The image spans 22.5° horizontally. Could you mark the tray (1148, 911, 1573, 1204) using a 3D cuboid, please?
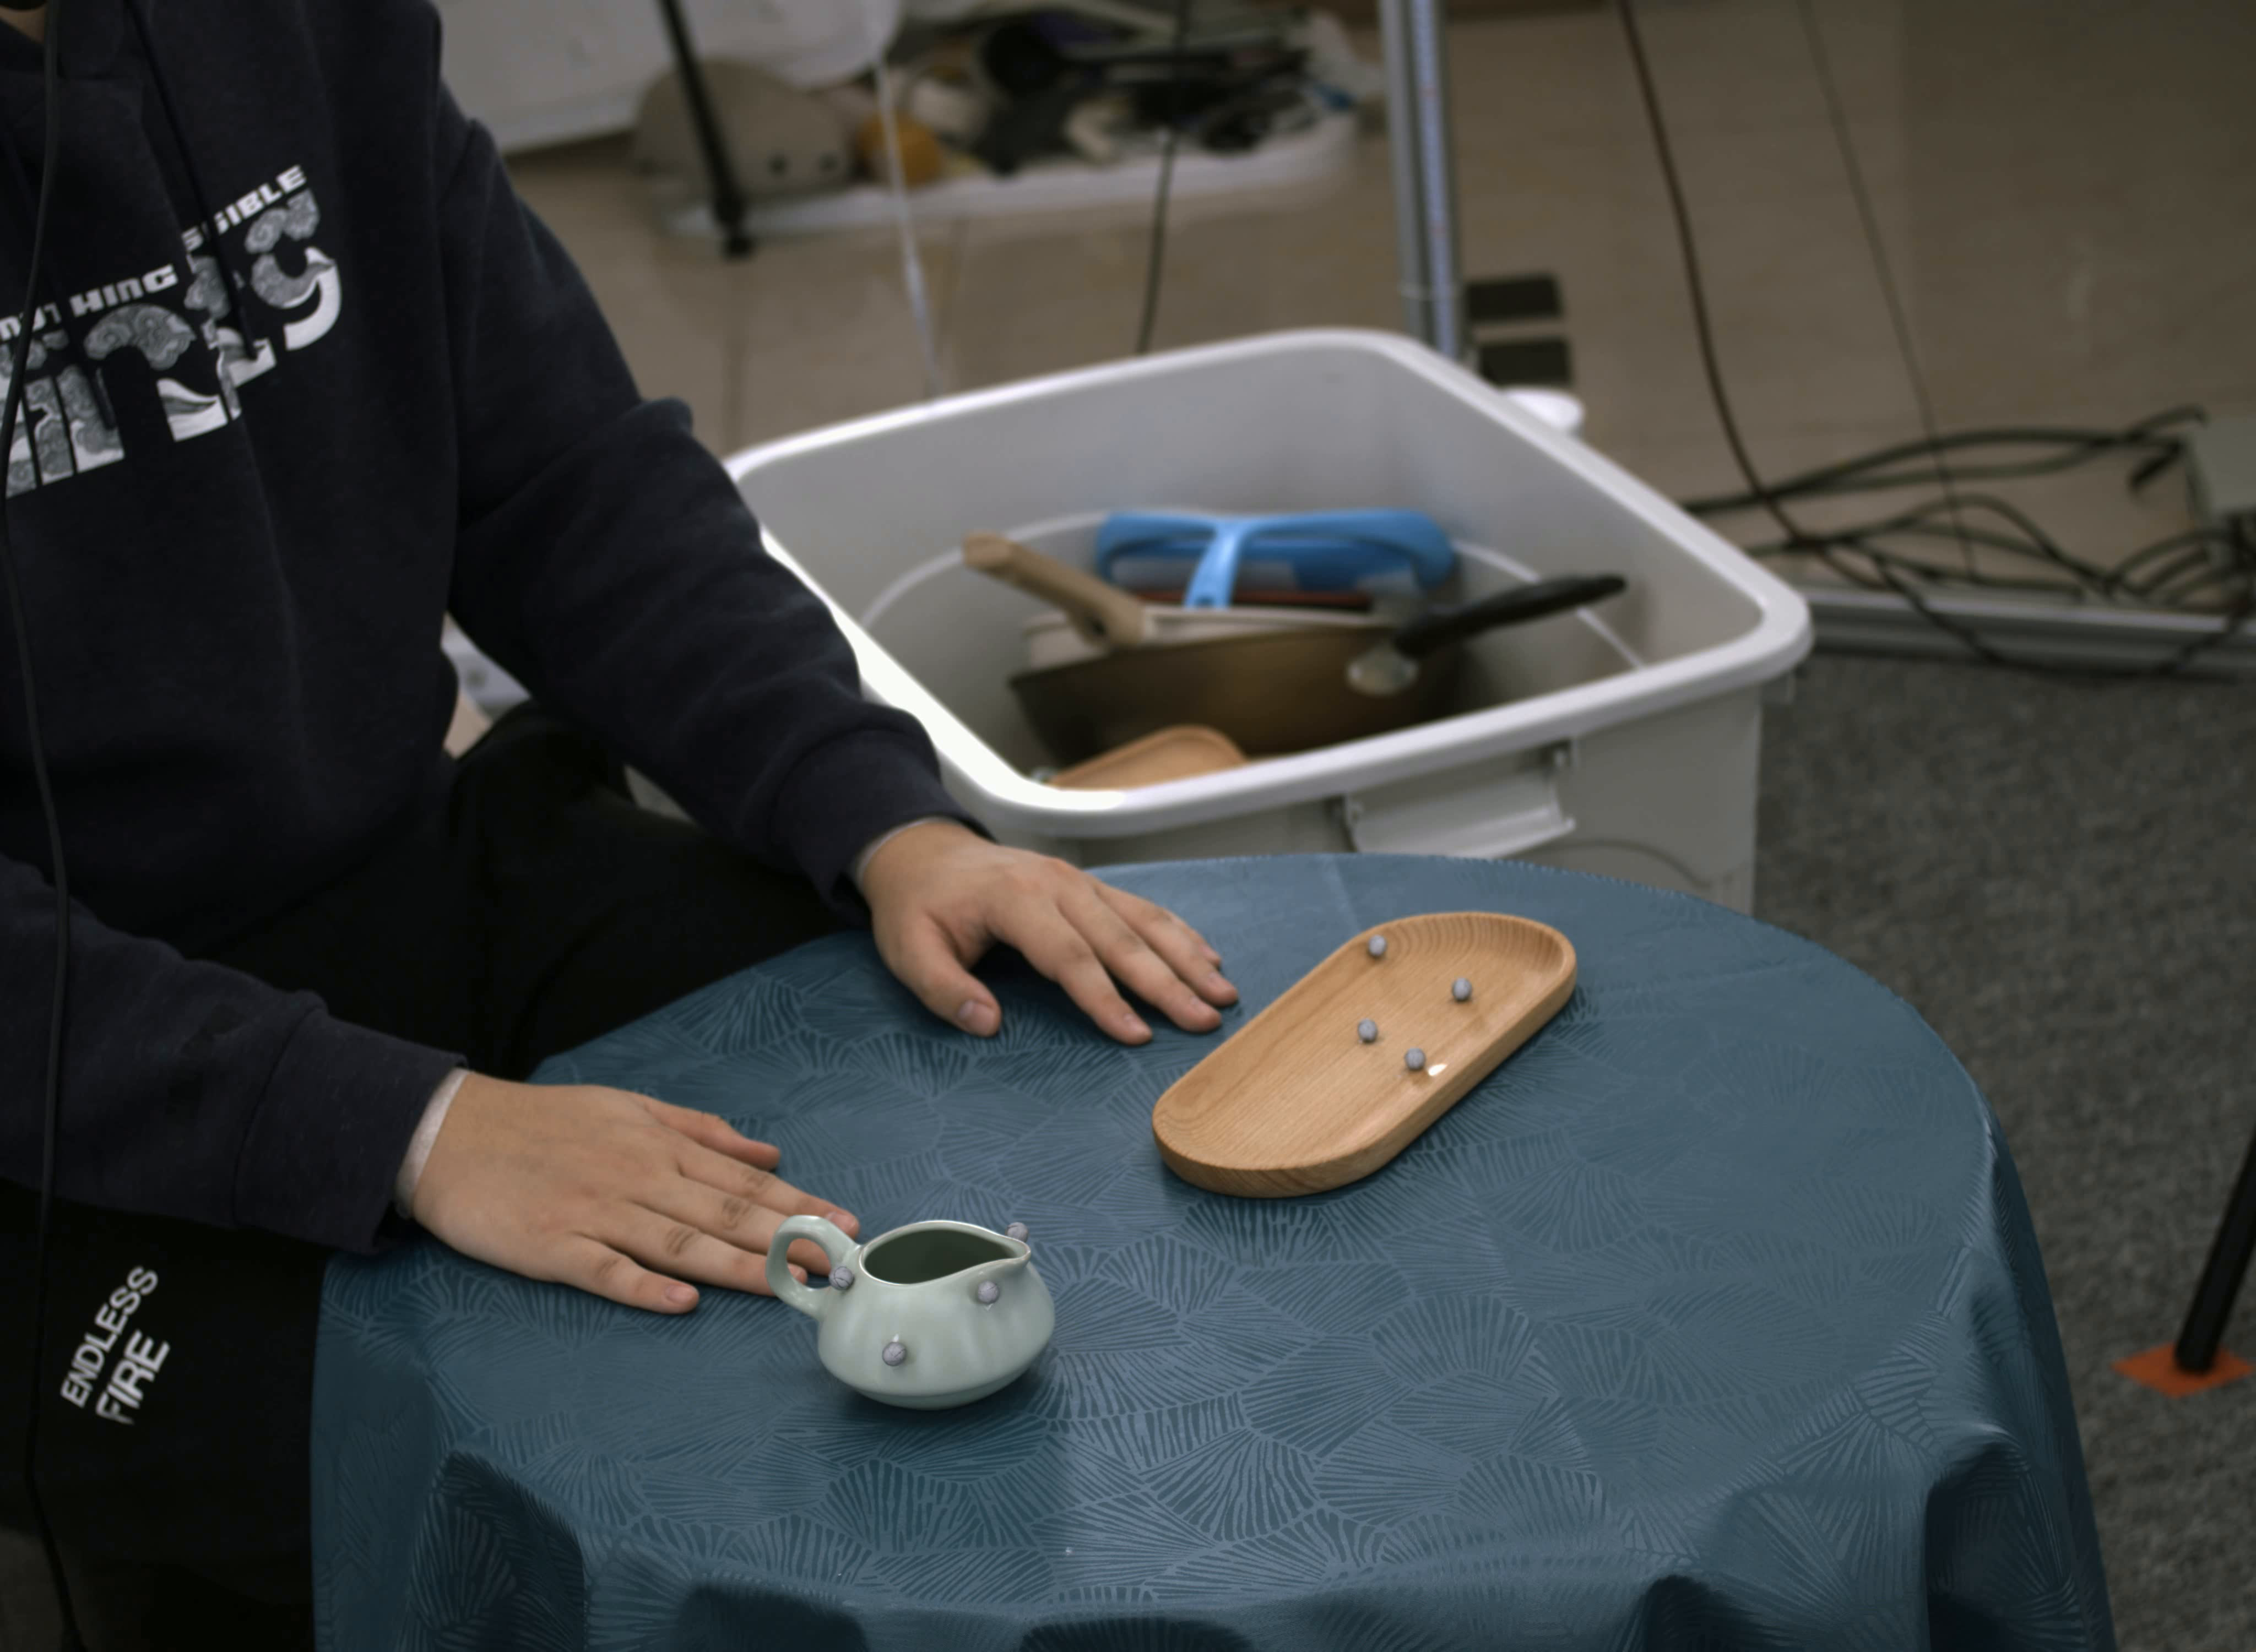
[{"bbox_3d":[0.093,0.089,2.216,0.101,0.020,0.228,8,30,32],"label":"tray"}]

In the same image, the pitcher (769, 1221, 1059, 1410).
[{"bbox_3d":[-0.079,0.172,2.029,0.107,0.061,0.085,2,25,23],"label":"pitcher"}]
